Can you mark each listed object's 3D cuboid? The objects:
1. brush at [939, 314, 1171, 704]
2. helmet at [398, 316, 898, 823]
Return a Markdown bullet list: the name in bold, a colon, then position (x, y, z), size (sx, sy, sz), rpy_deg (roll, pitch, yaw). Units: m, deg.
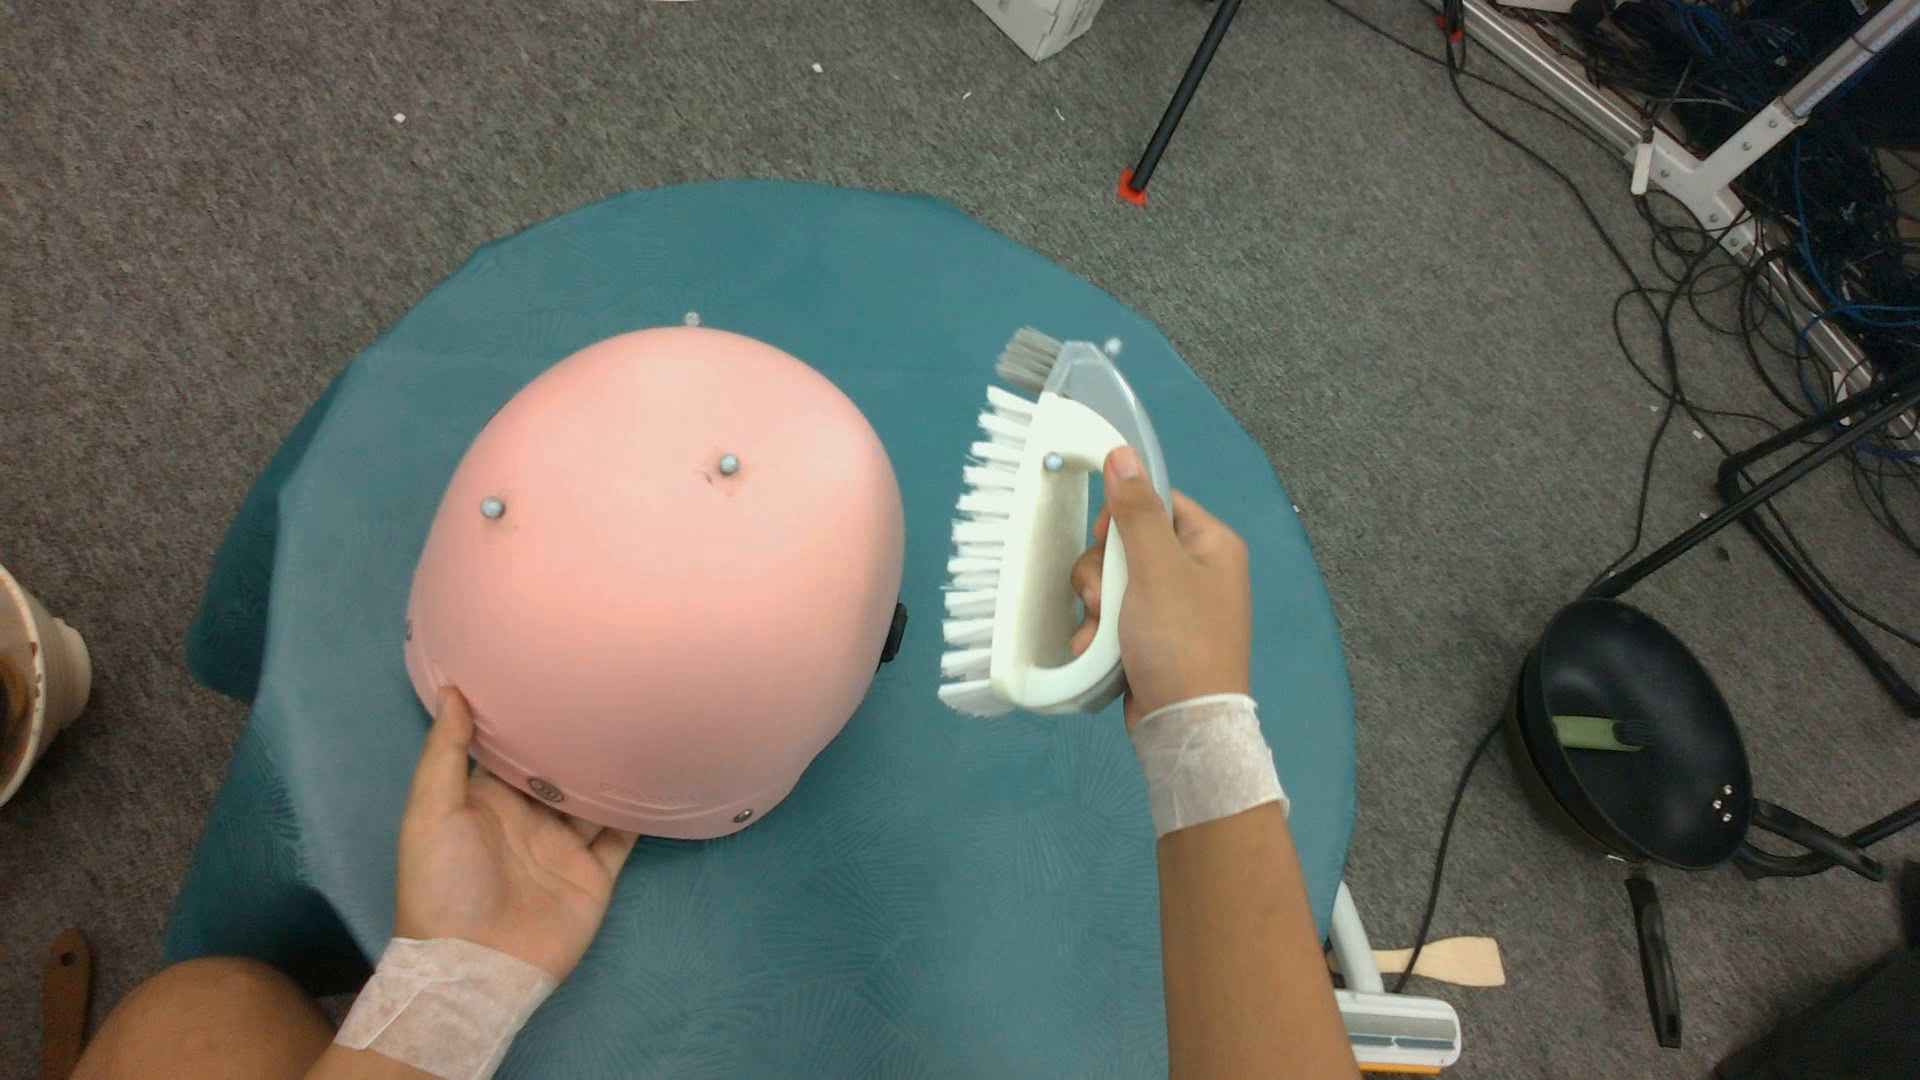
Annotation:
- **brush**: position (0.043, -0.018, 0.580), size (0.061, 0.094, 0.176), rpy_deg (31, 60, -57)
- **helmet**: position (-0.129, -0.013, 0.650), size (0.234, 0.158, 0.267), rpy_deg (28, 49, -5)
